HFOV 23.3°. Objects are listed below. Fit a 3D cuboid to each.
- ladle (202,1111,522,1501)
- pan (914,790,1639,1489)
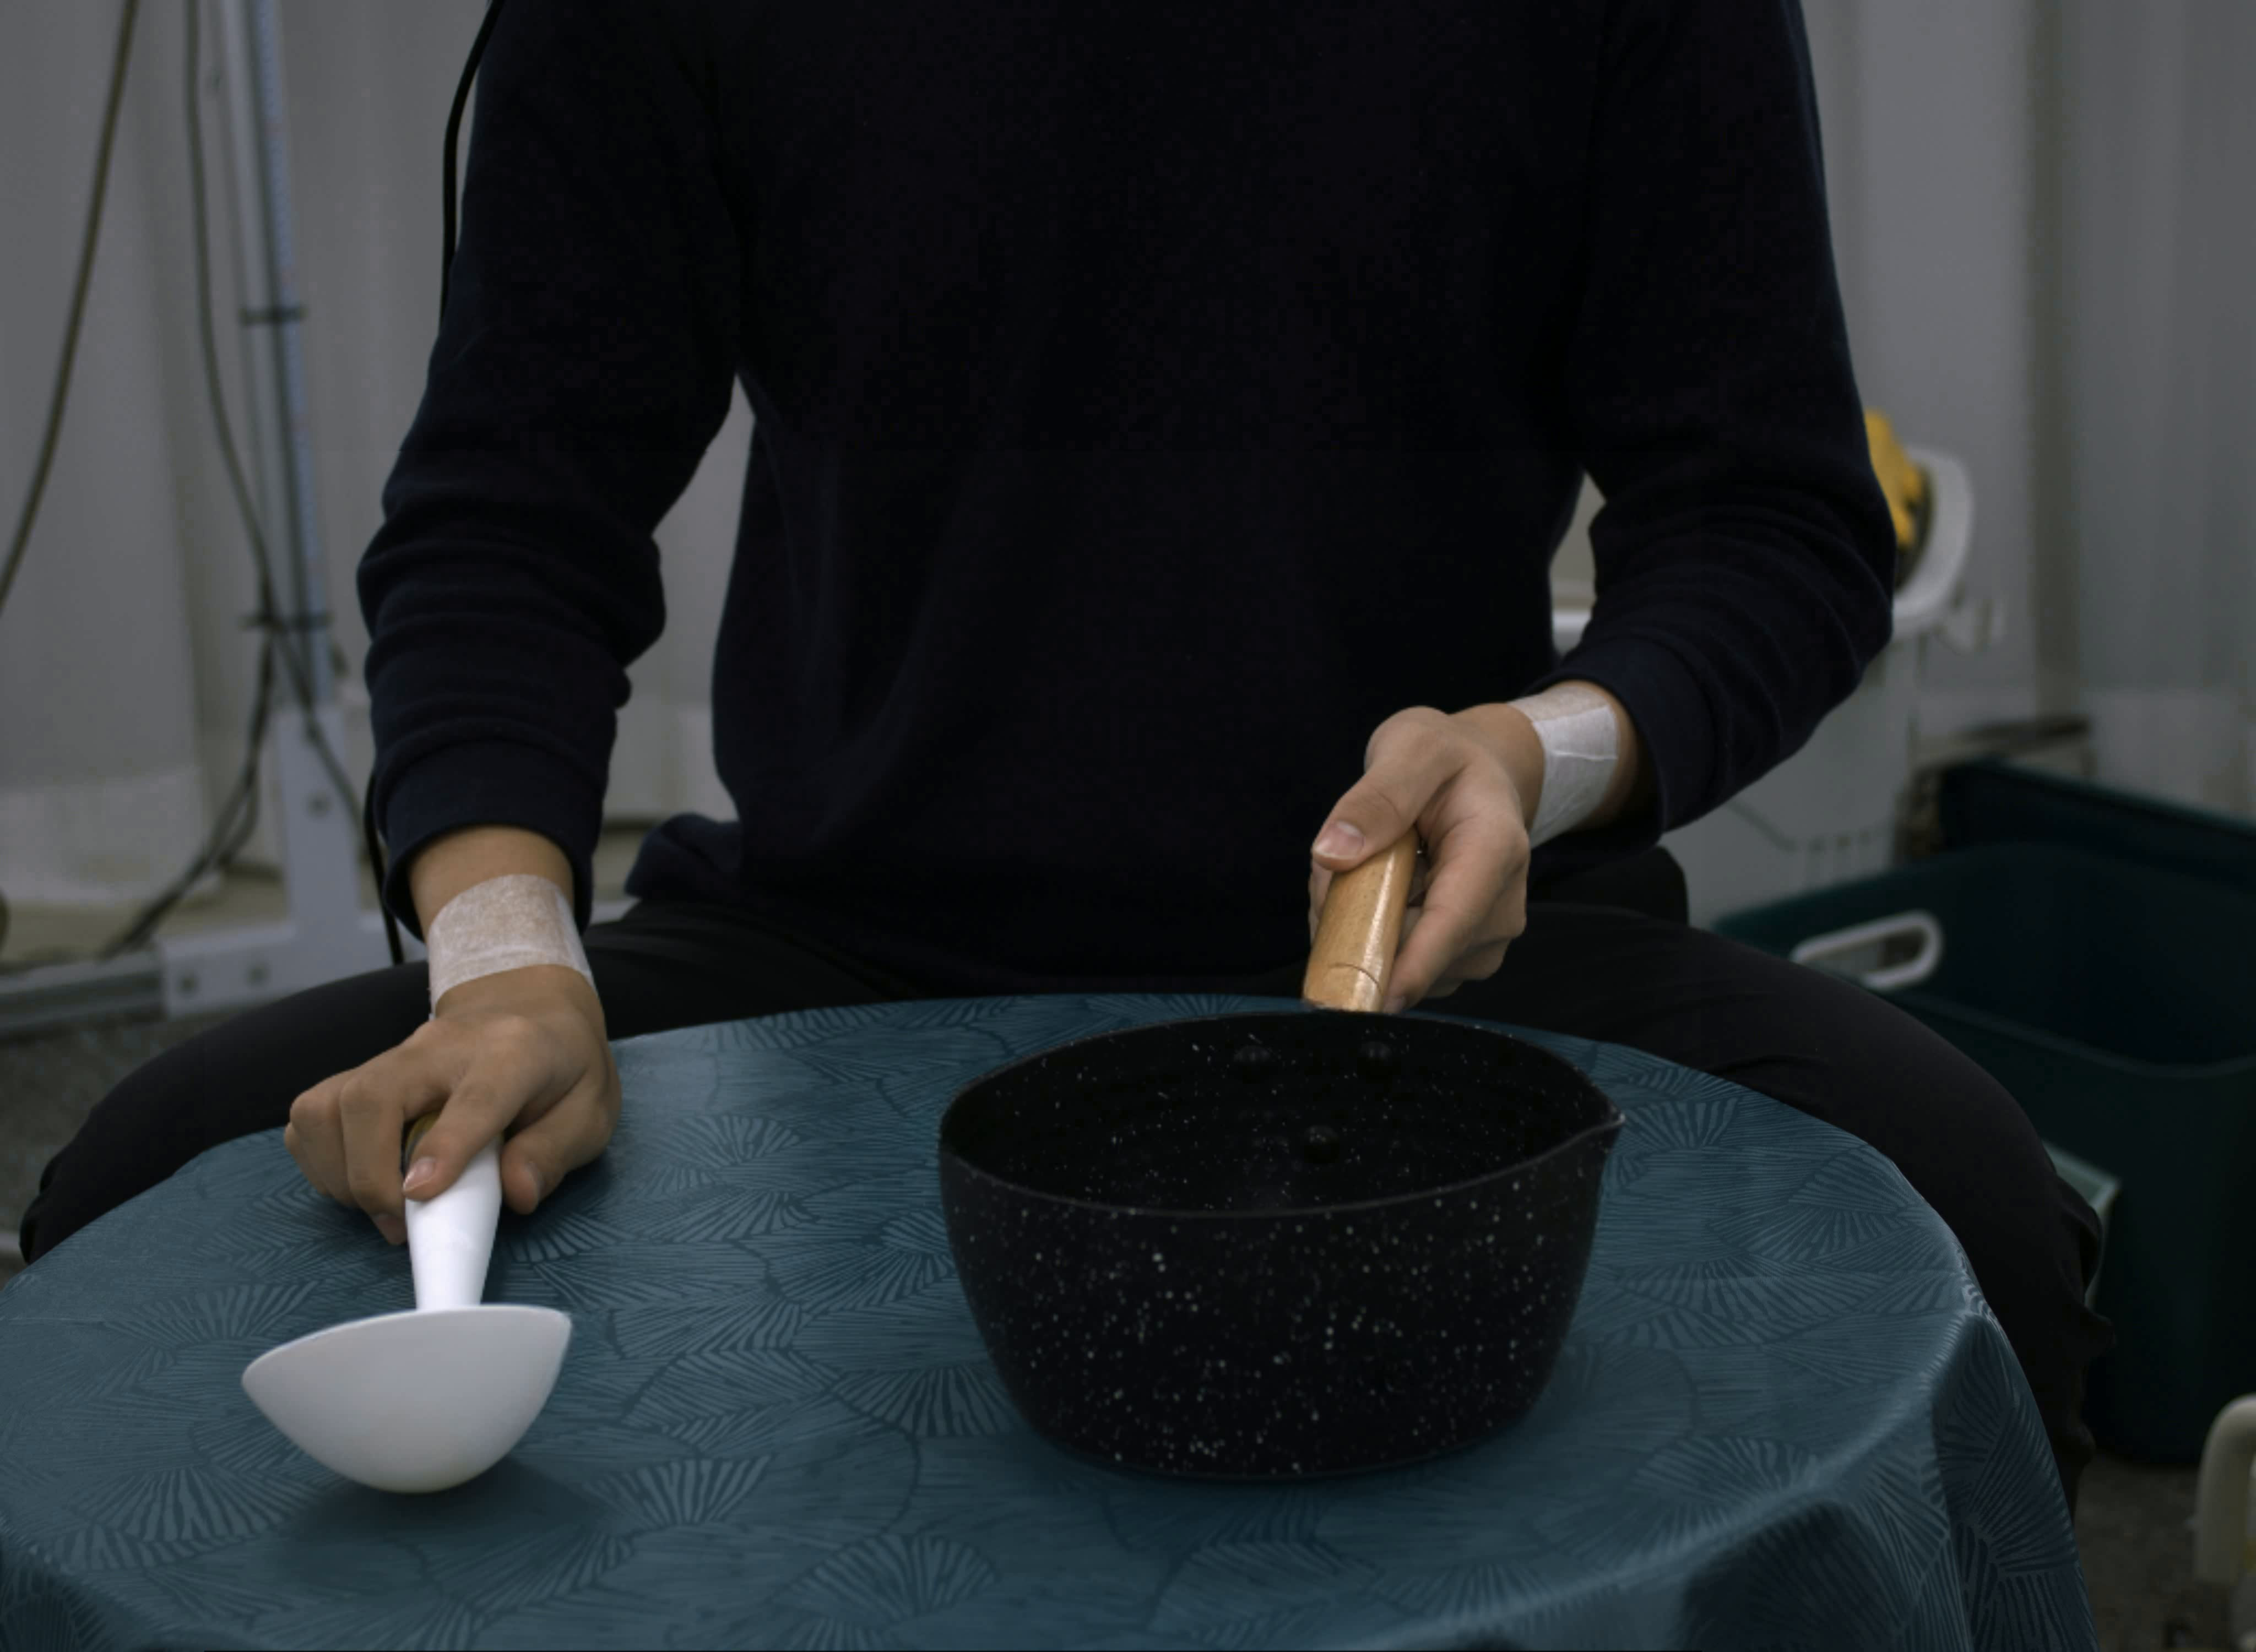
[{"bbox_3d":[-0.212,0.126,1.597,0.090,0.069,0.295,-19,15,1],"label":"ladle"},{"bbox_3d":[0.053,0.086,1.604,0.207,0.108,0.345,-1,16,10],"label":"pan"}]
